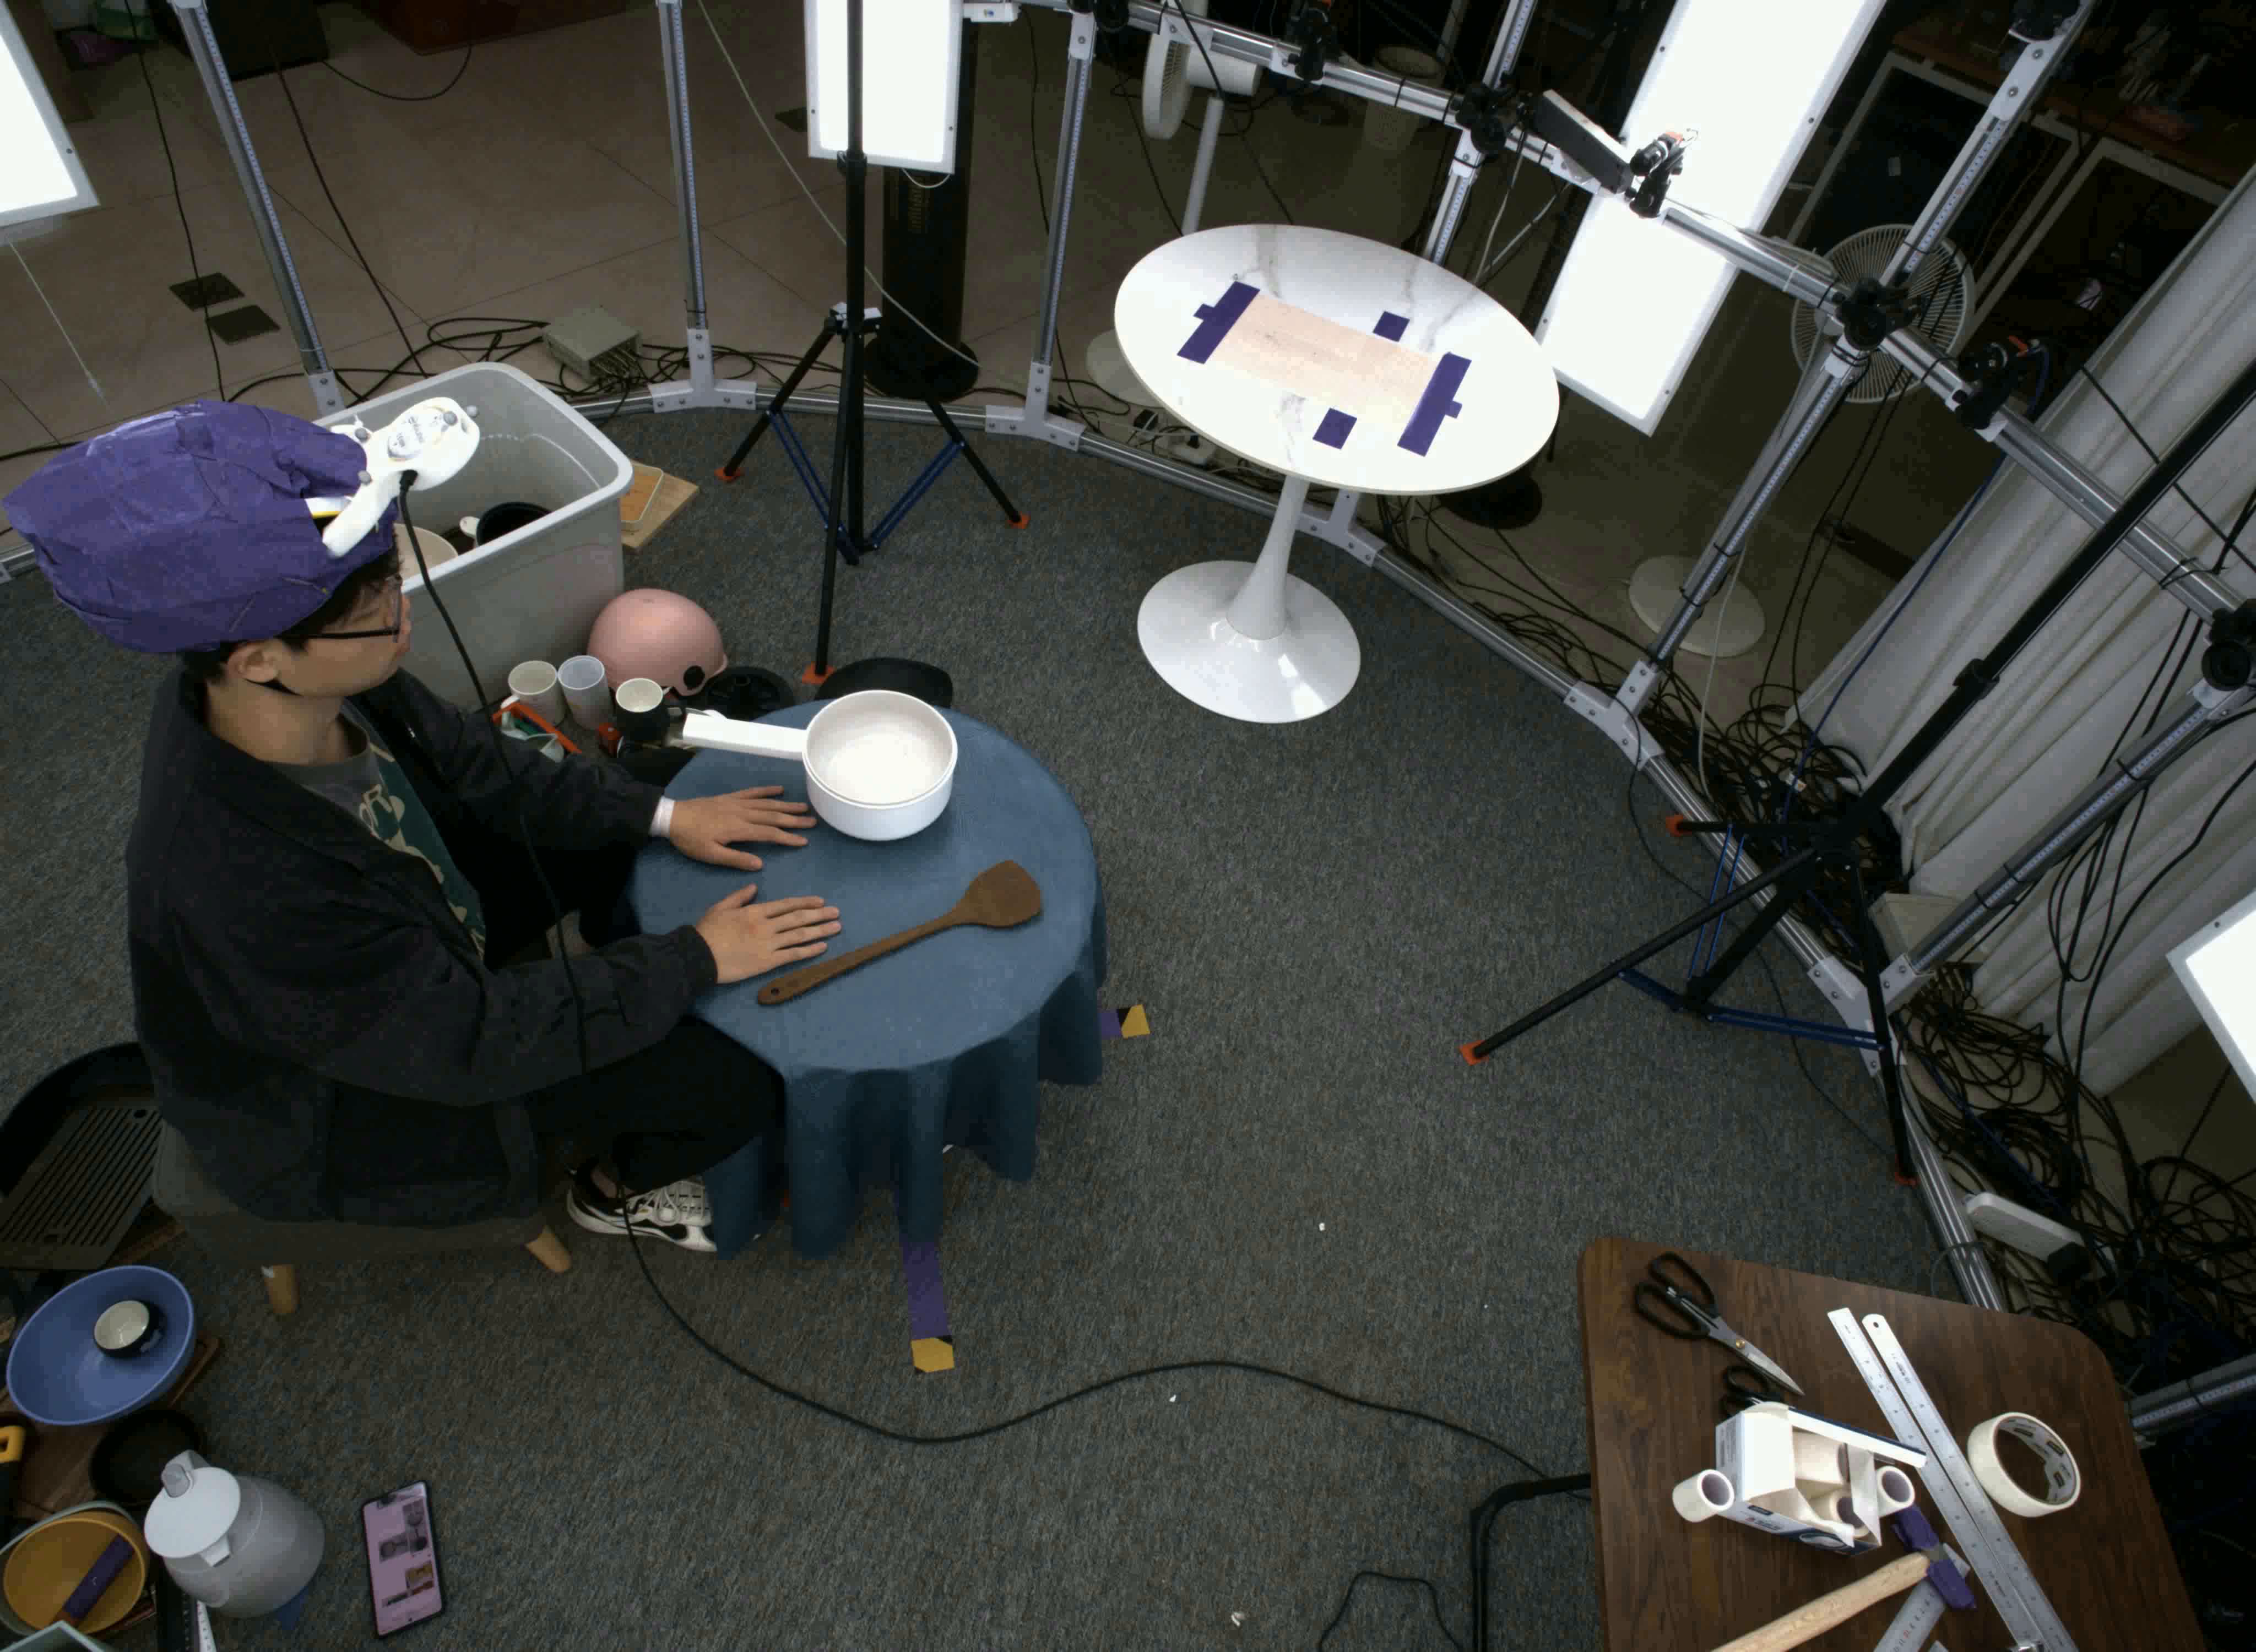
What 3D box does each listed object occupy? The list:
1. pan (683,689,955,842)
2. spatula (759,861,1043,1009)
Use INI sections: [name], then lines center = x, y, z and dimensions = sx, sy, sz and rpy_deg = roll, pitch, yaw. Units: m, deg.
[pan]
center = -0.408, -0.085, 1.731
dimensions = 0.353, 0.104, 0.198
rpy_deg = 6, 53, -7
[spatula]
center = -0.285, 0.143, 1.644
dimensions = 0.388, 0.016, 0.093
rpy_deg = -23, 62, -27
